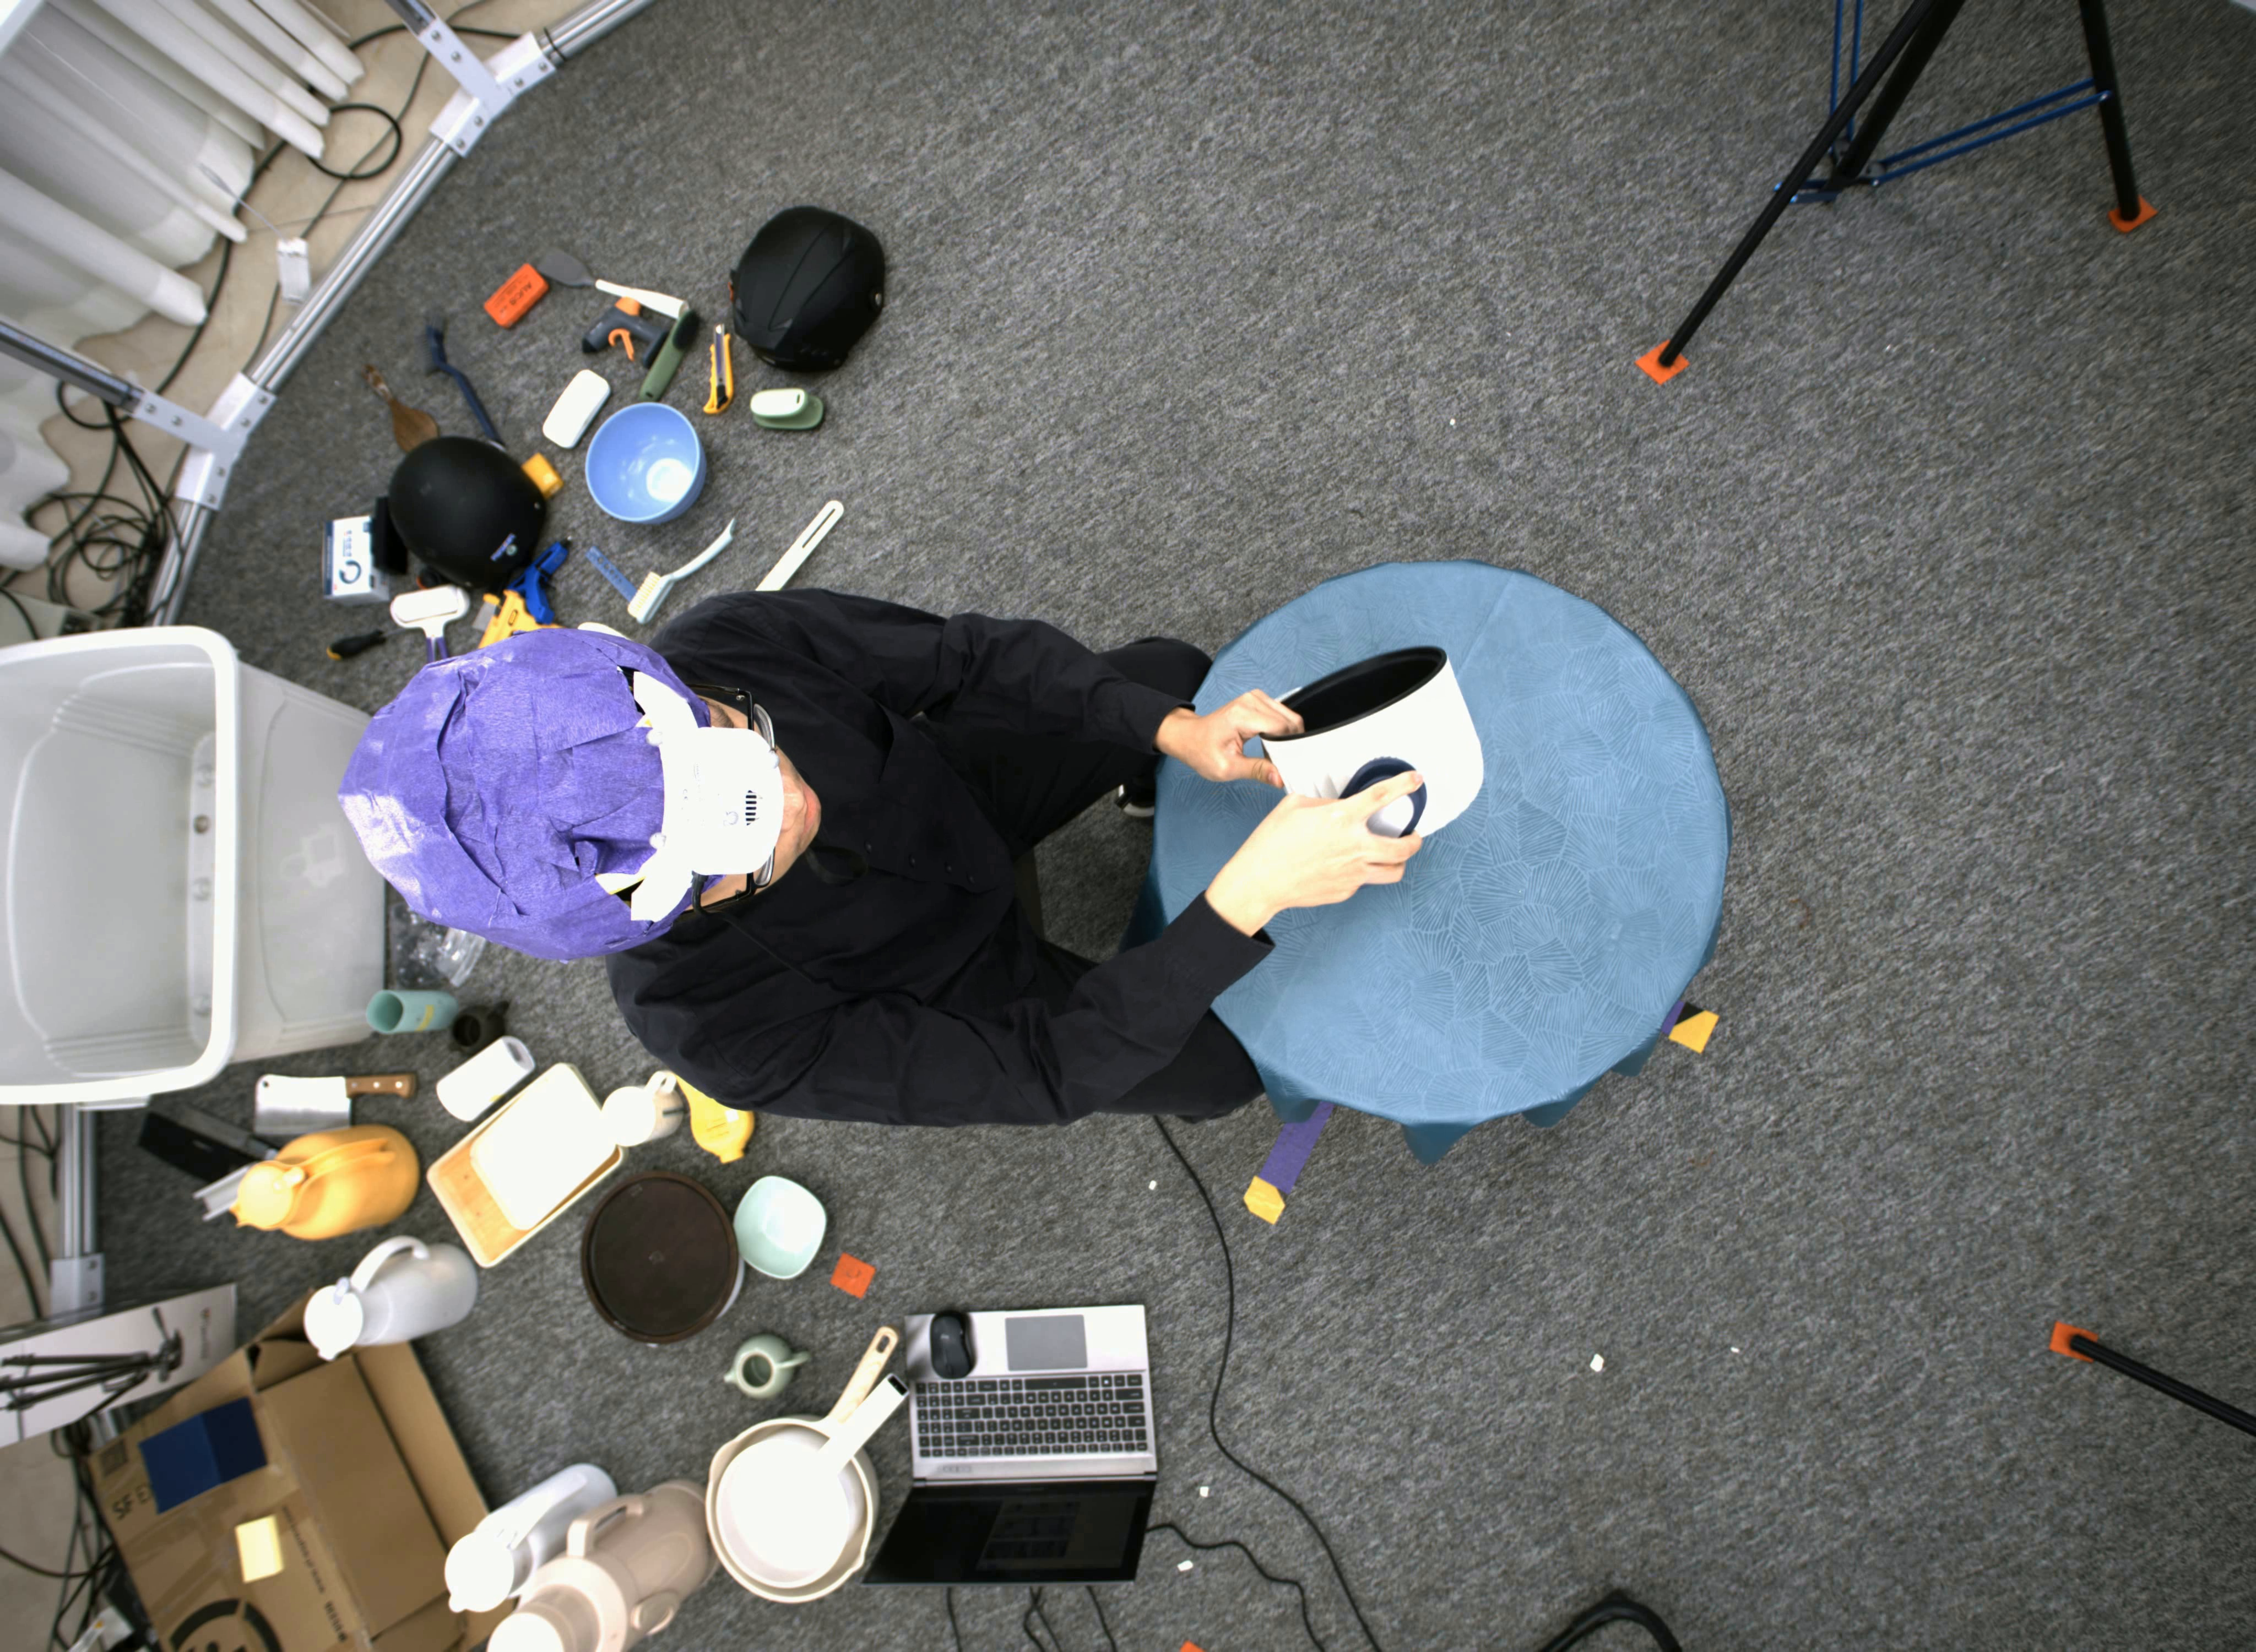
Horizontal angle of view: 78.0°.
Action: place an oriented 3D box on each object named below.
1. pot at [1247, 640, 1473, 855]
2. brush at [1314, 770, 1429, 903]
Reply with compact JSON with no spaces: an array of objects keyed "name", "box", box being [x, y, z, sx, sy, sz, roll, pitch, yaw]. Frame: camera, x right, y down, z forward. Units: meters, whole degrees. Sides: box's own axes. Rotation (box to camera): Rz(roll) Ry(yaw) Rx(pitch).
[{"name":"pot","box":[0.223,-0.074,1.265,0.188,0.241,0.144,-35,110,-21]},{"name":"brush","box":[0.205,0.006,1.164,0.068,0.060,0.124,32,115,-8]}]
